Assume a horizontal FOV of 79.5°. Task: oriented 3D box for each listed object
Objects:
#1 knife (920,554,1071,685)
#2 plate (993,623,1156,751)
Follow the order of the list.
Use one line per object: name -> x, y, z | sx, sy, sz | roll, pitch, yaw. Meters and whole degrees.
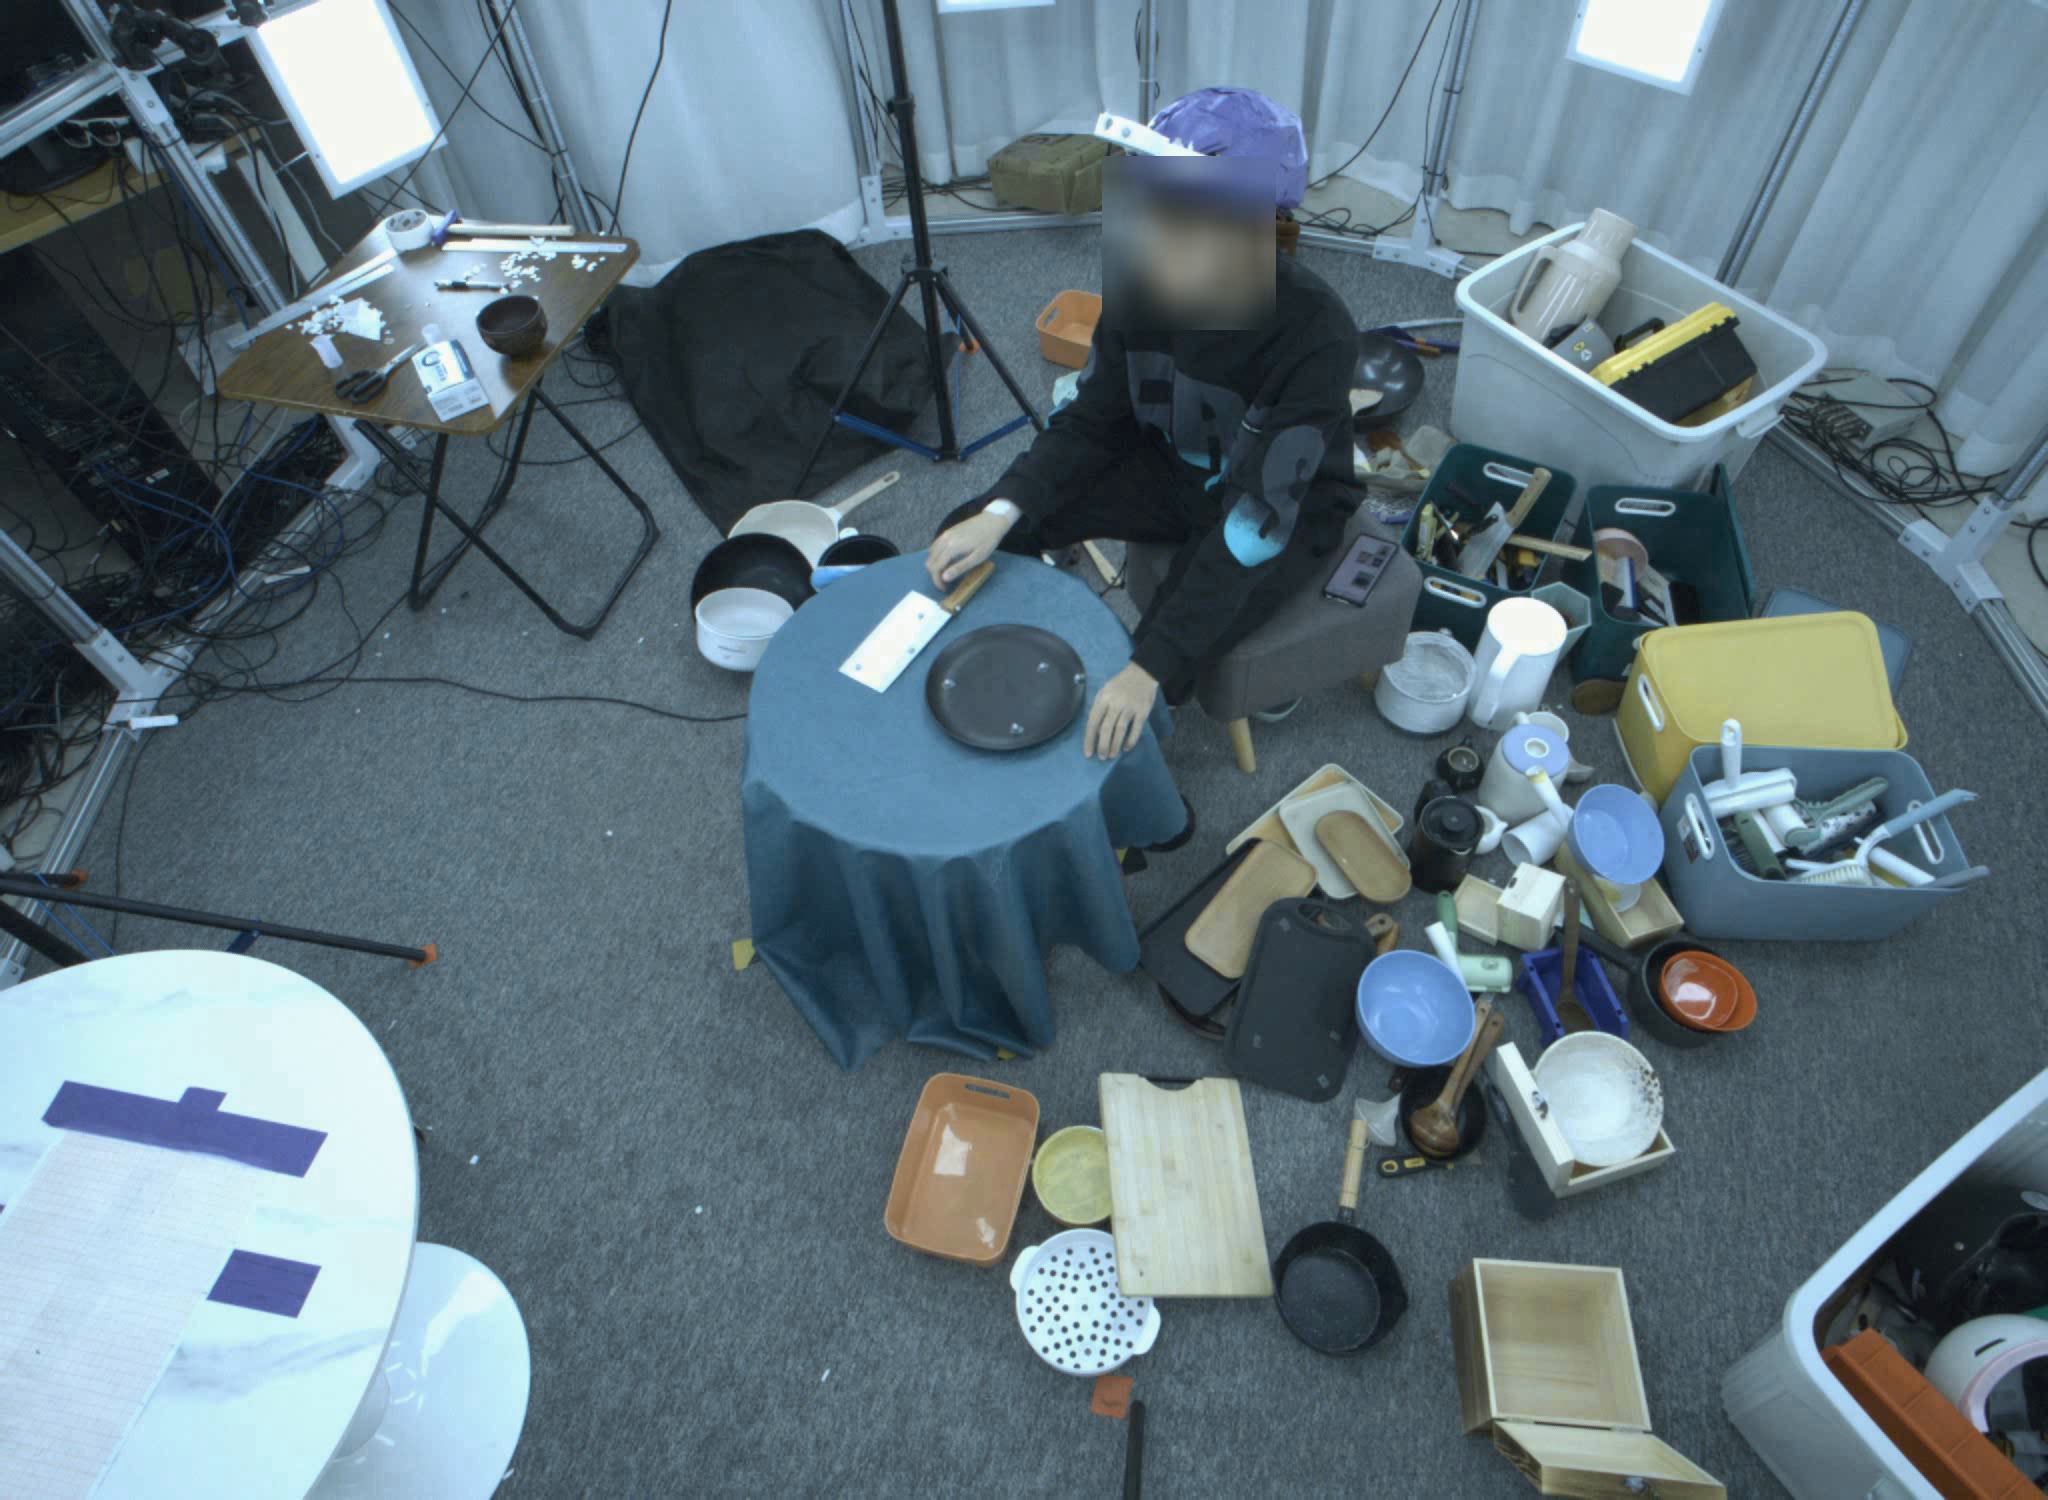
knife -> -0.048, -0.218, 1.934 | 0.091, 0.021, 0.307 | 32, 64, 24
plate -> 0.075, -0.091, 1.834 | 0.244, 0.024, 0.242 | -1, 55, 2
